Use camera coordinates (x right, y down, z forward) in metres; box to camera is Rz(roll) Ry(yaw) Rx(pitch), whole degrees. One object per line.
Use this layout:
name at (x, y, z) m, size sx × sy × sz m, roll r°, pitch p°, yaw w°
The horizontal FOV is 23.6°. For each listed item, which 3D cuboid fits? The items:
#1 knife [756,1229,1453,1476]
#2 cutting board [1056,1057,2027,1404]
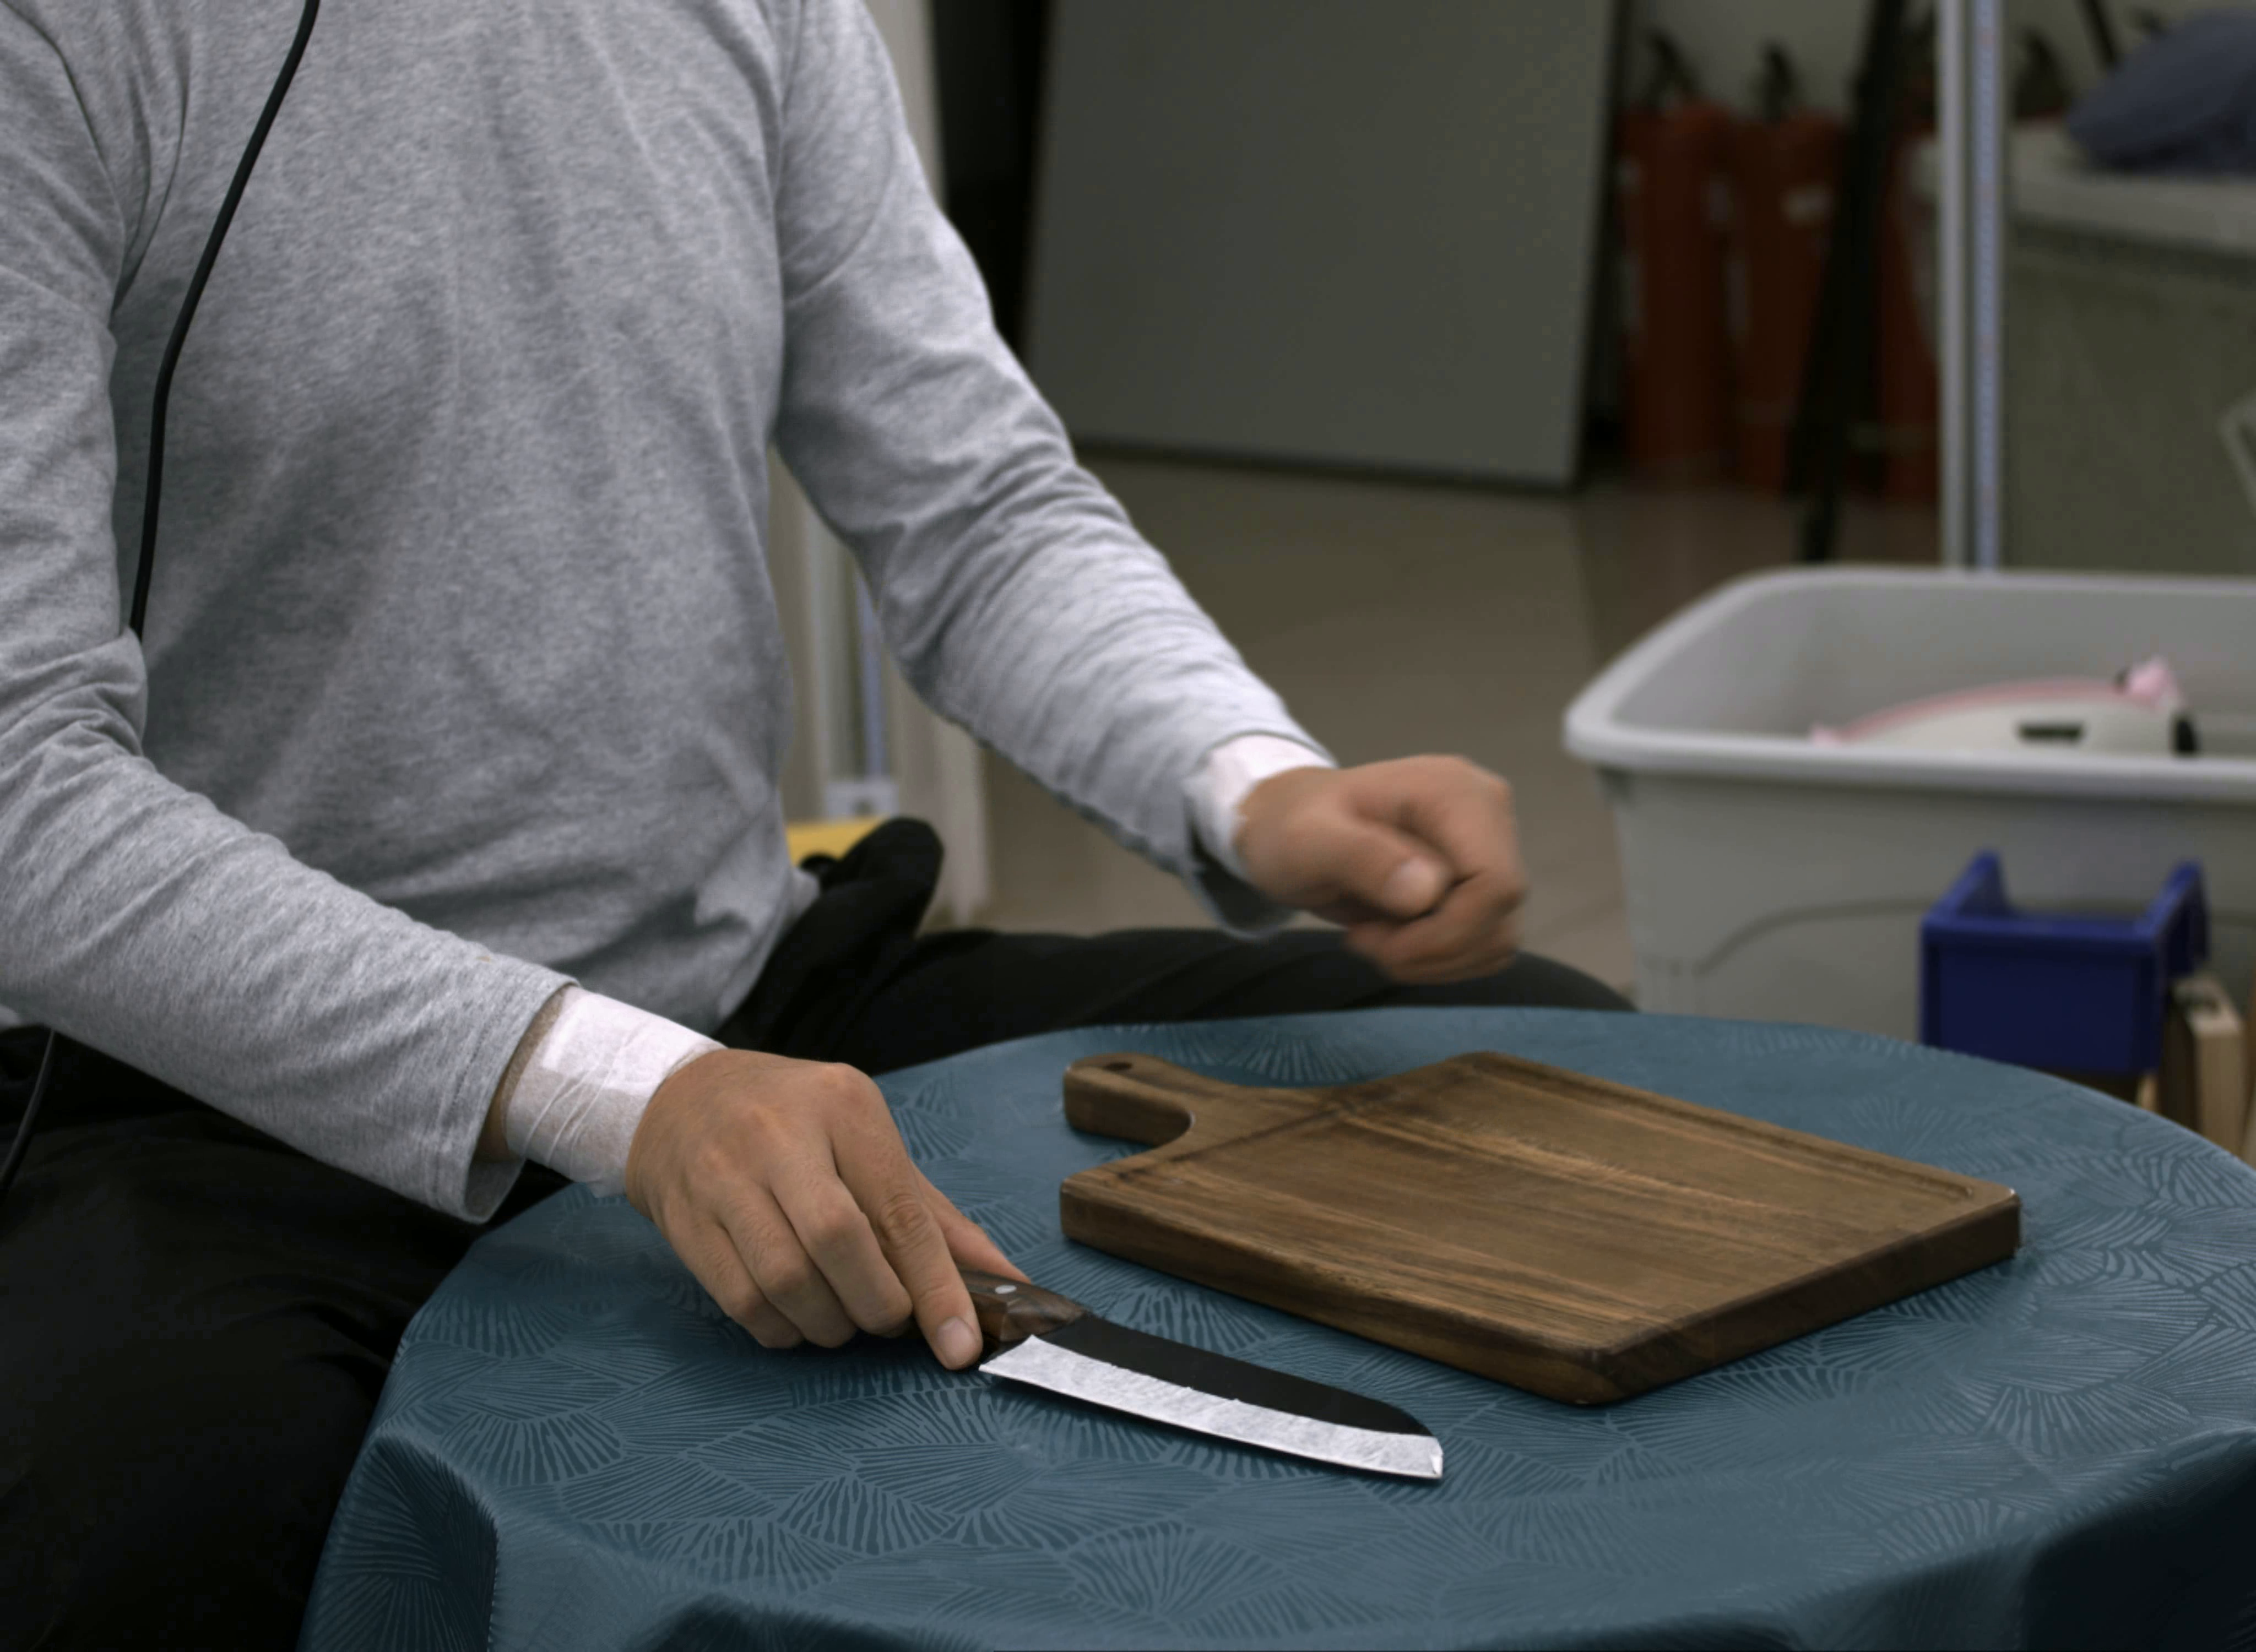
knife at (-0.012, 0.157, 1.597) m, size 0.049 × 0.020 × 0.292 m, roll -24°, pitch 24°, yaw -40°
cutting board at (0.096, 0.115, 1.729) m, size 0.196 × 0.023 × 0.356 m, roll -14°, pitch 17°, yaw -37°
